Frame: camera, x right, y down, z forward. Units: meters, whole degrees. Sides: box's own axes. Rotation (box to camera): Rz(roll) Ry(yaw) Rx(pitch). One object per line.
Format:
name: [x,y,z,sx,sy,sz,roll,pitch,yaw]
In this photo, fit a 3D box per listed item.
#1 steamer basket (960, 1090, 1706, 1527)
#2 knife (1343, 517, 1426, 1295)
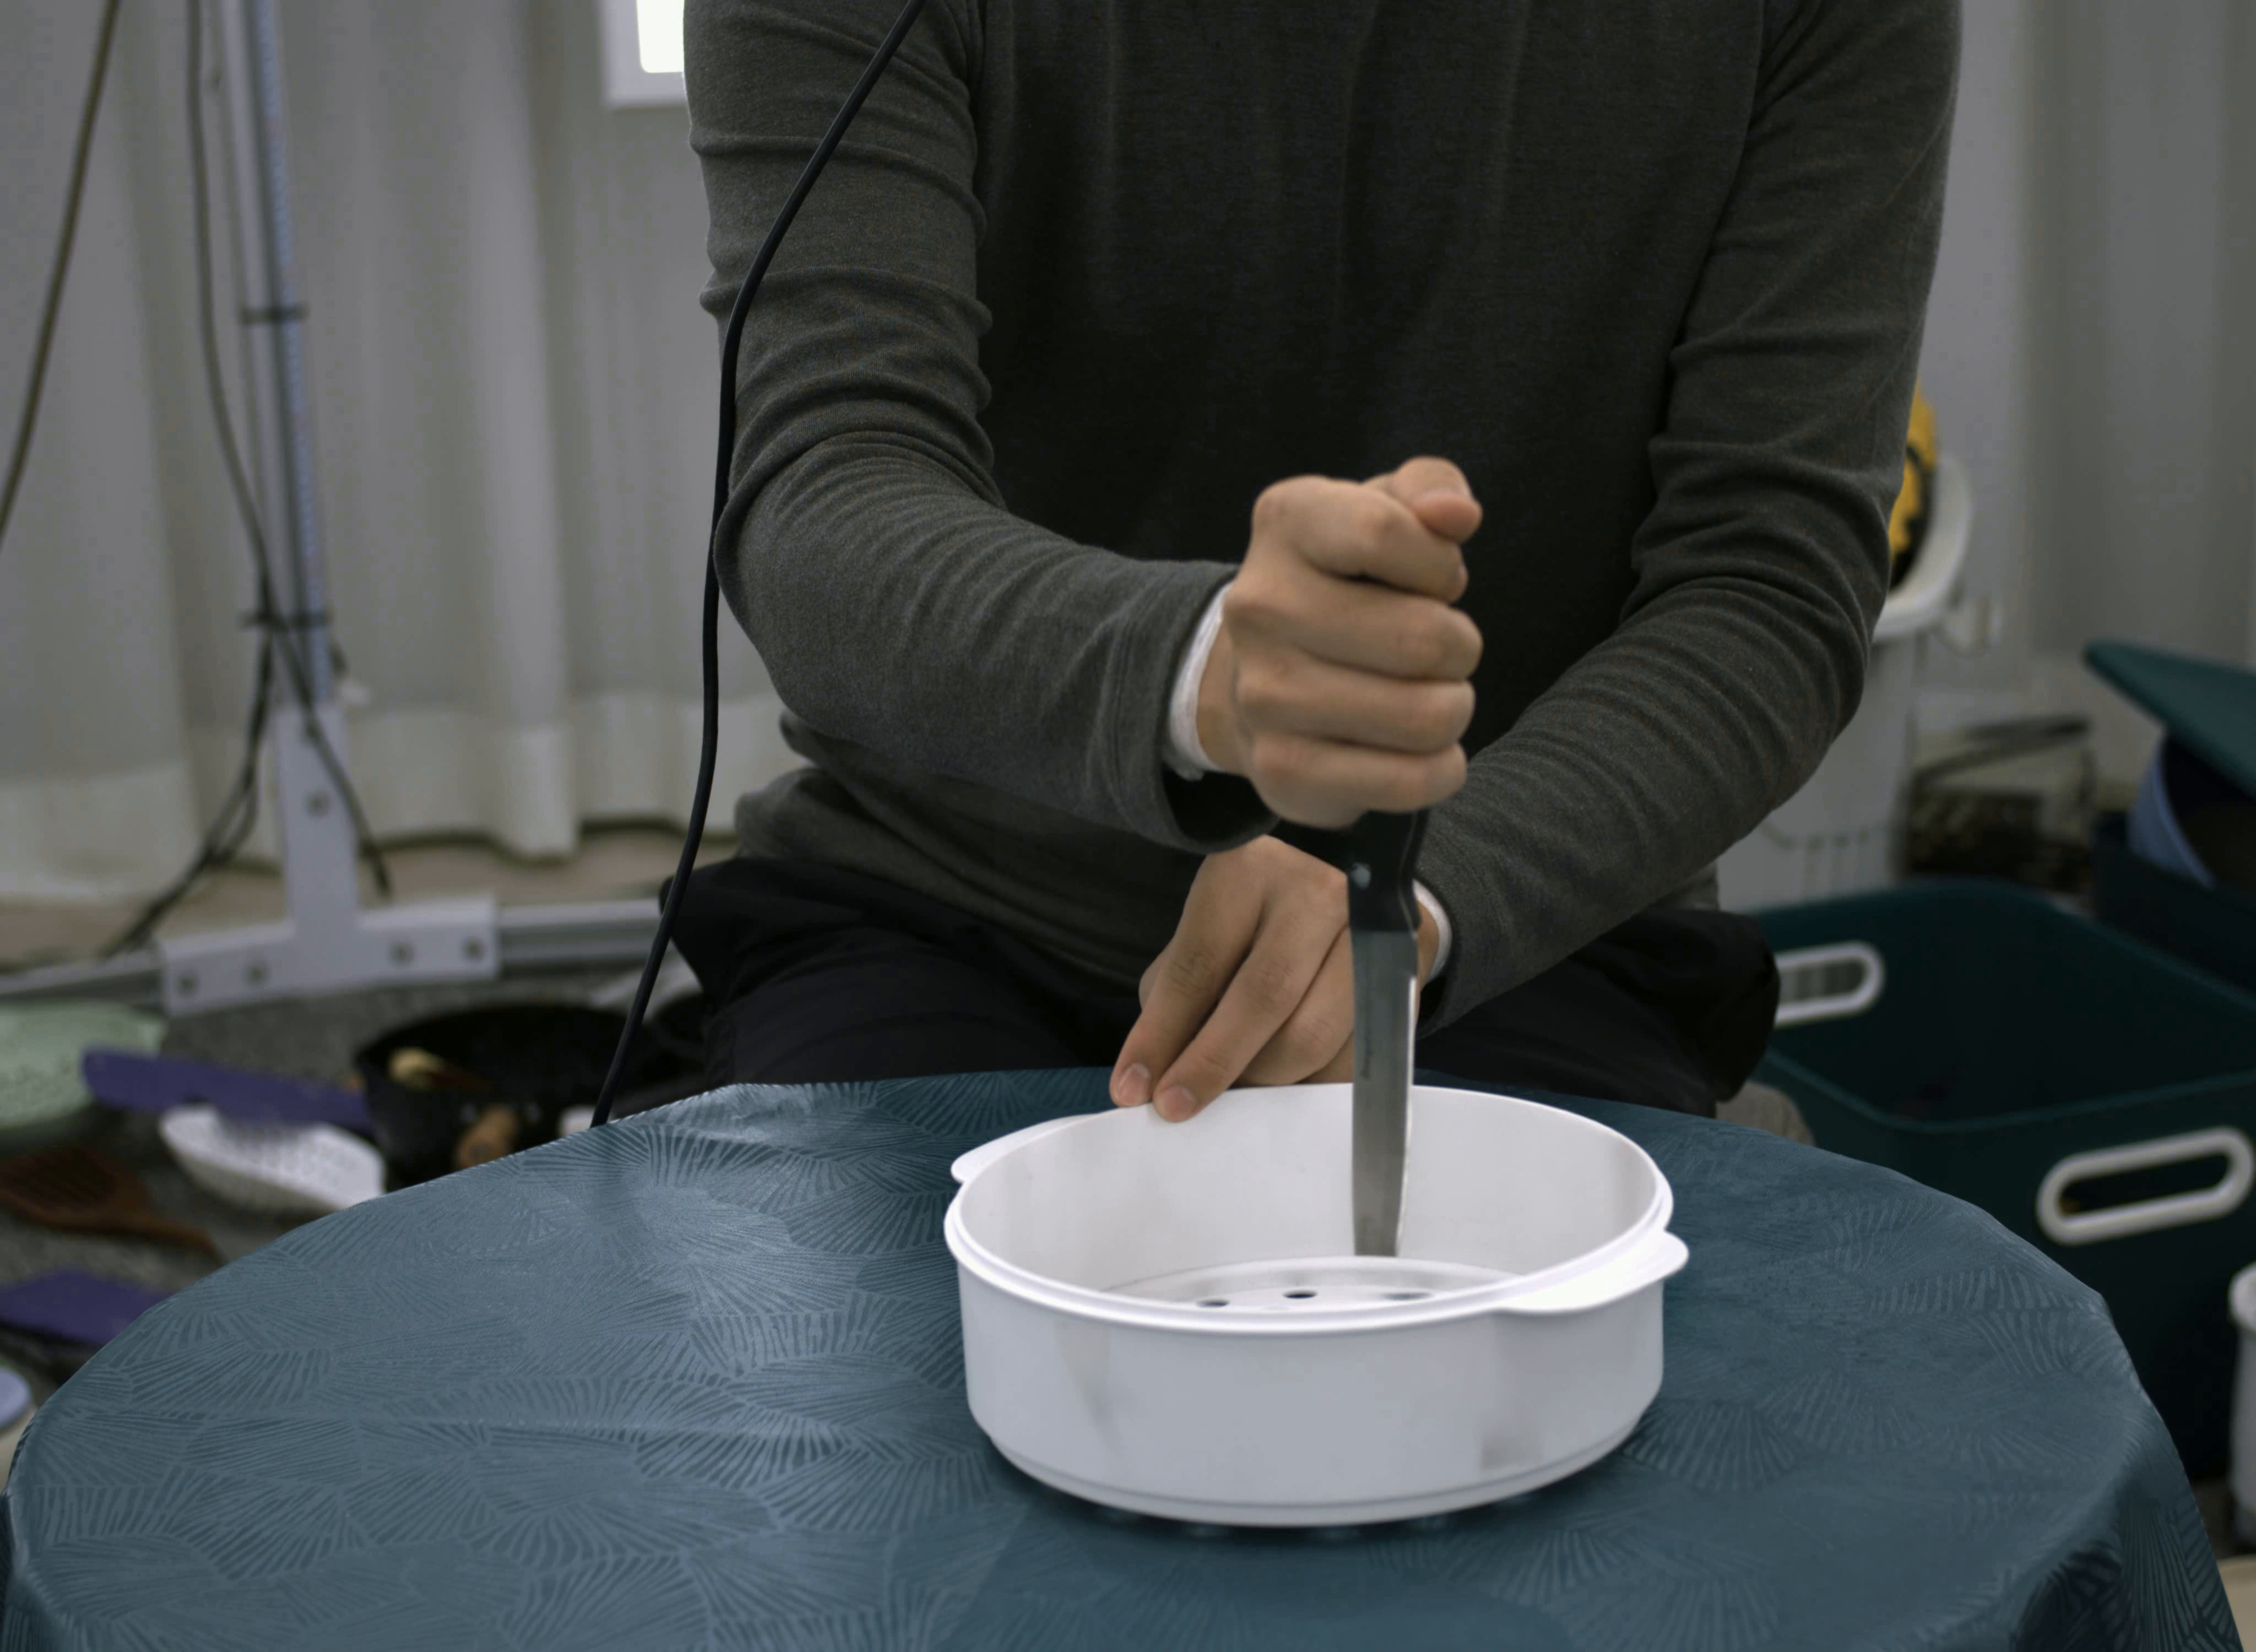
steamer basket: [0.055,0.132,1.508,0.231,0.069,0.201,9,18,41]
knife: [0.068,0.033,1.457,0.016,0.237,0.024,-12,19,-37]
